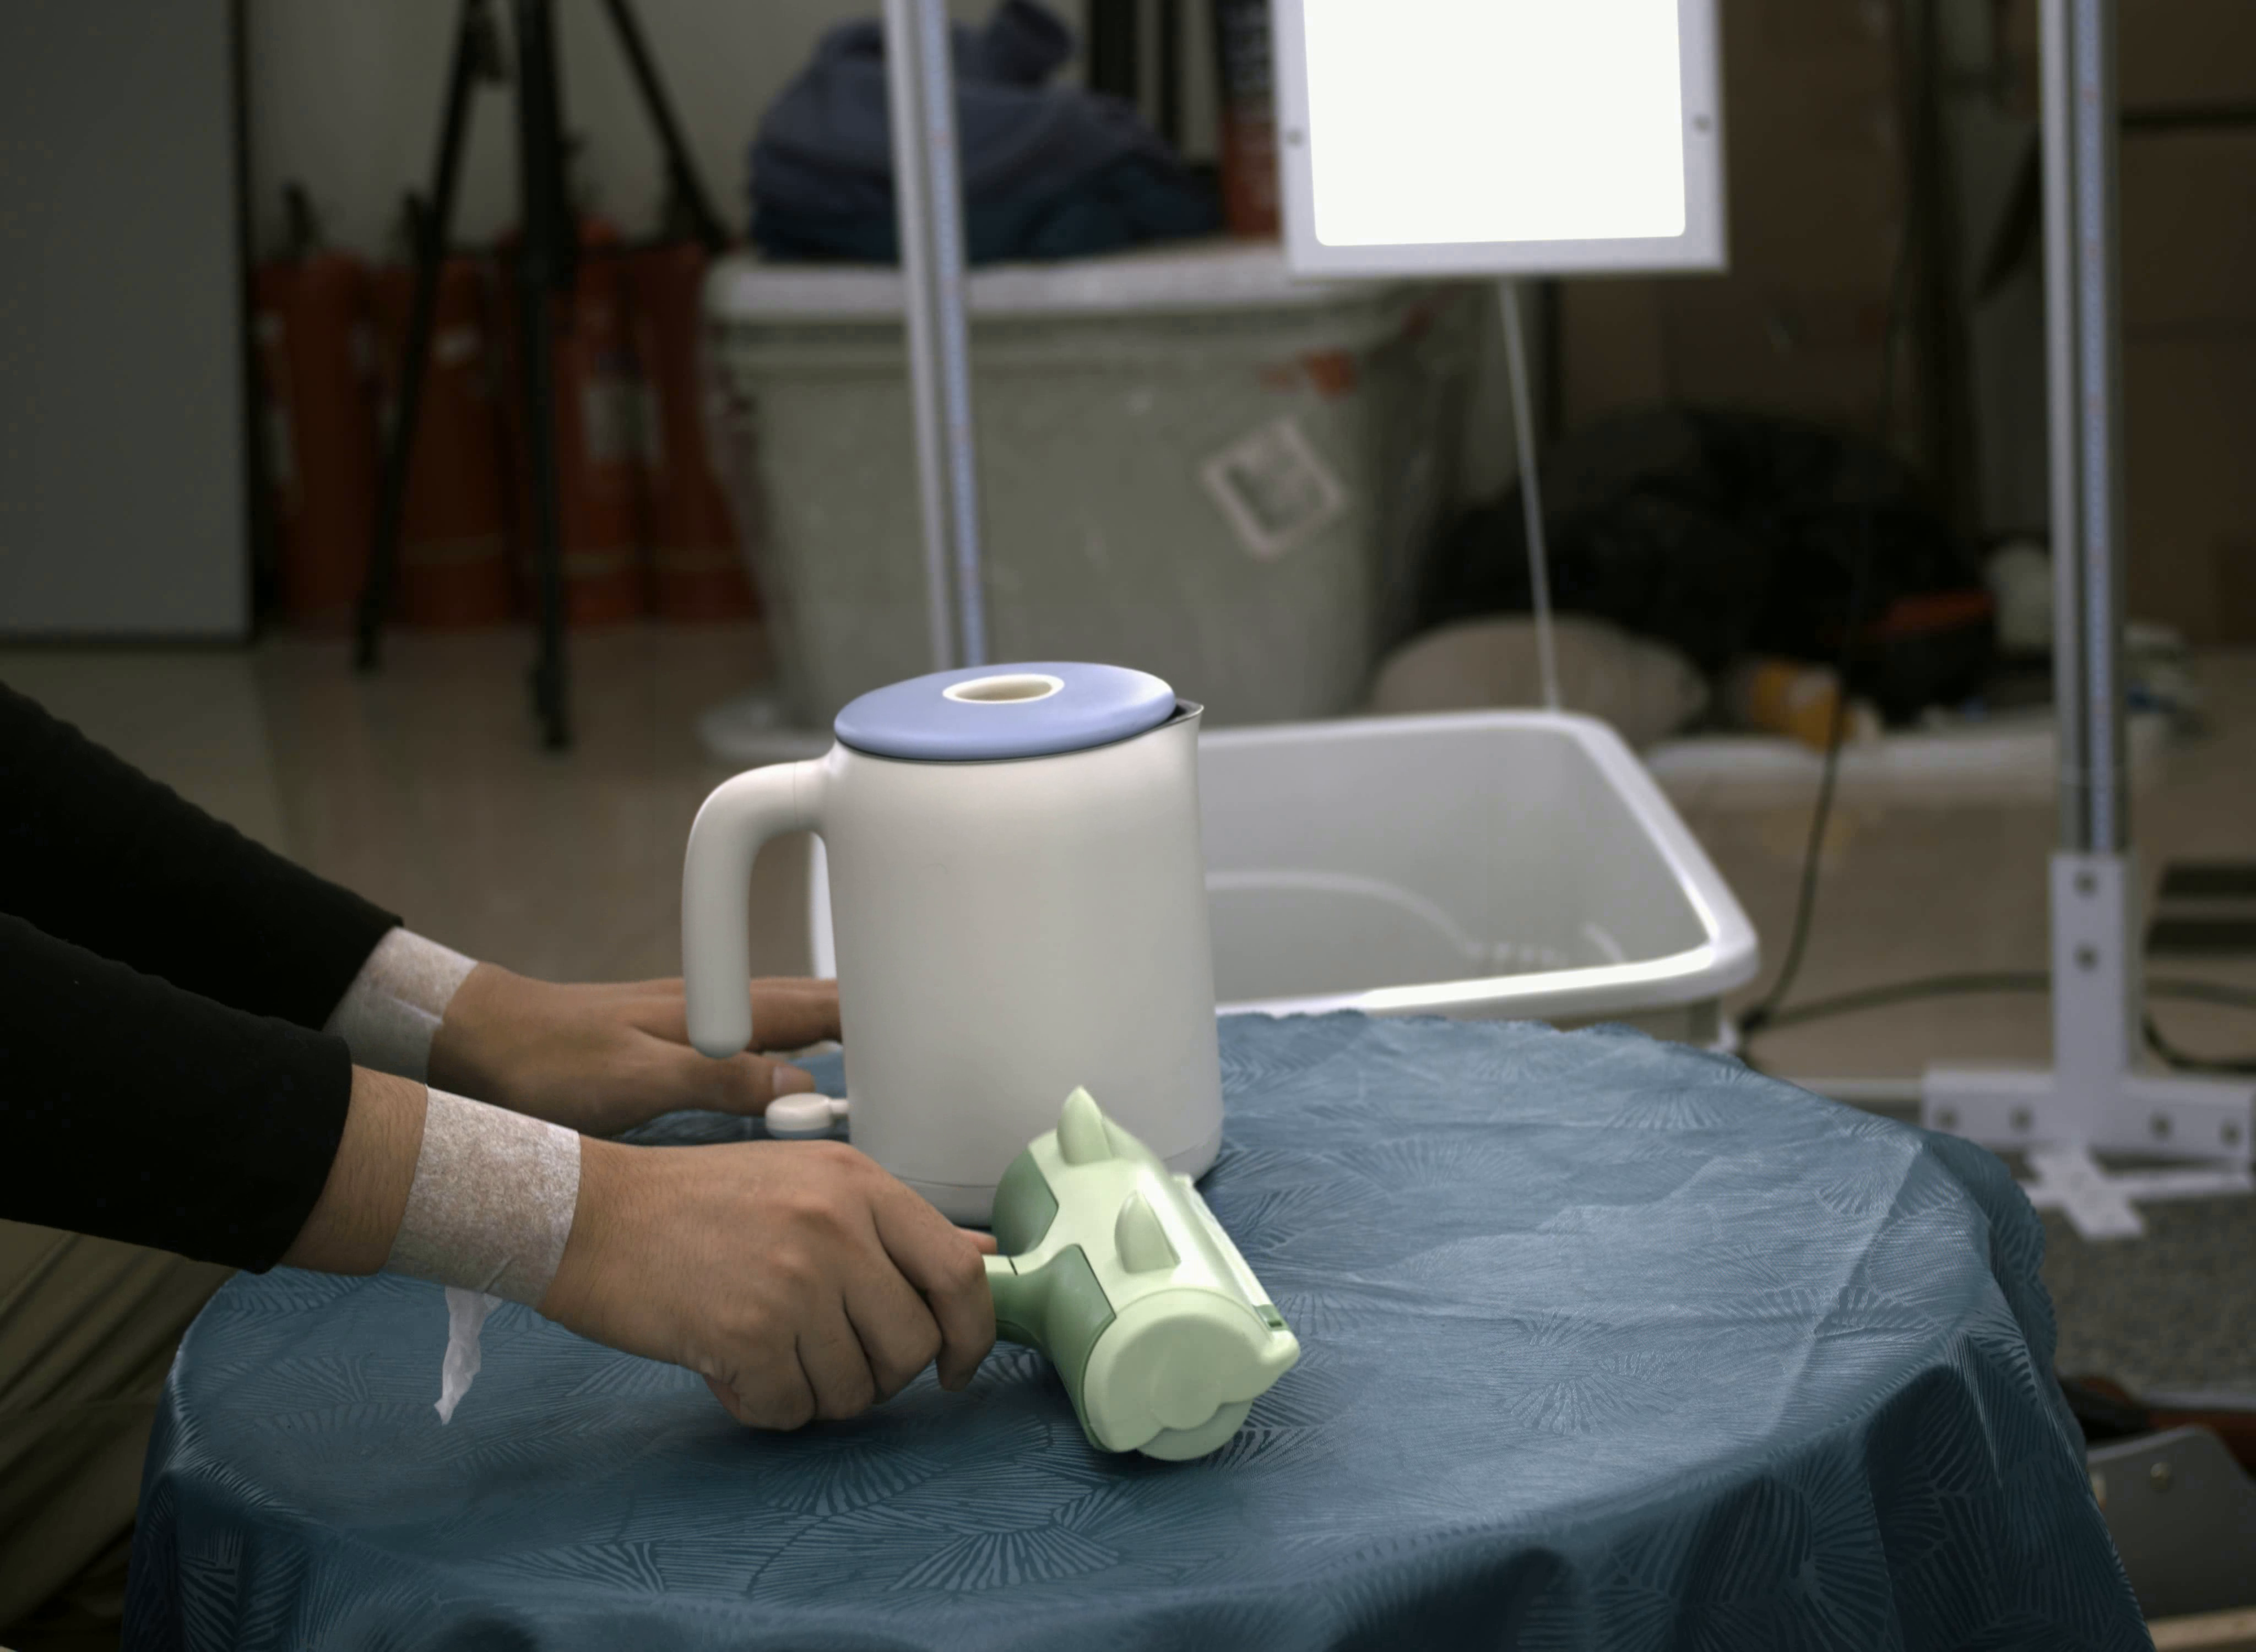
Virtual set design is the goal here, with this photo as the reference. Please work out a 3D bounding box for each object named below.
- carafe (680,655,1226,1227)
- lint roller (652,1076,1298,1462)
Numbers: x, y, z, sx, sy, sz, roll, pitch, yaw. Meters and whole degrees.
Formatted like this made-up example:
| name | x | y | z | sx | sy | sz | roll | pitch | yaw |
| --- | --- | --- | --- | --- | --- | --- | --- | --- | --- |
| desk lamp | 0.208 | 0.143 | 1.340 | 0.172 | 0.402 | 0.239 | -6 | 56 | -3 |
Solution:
| name | x | y | z | sx | sy | sz | roll | pitch | yaw |
| --- | --- | --- | --- | --- | --- | --- | --- | --- | --- |
| carafe | -0.061 | 0.041 | 1.907 | 0.191 | 0.183 | 0.131 | -6 | 13 | 4 |
| lint roller | -0.053 | 0.130 | 1.703 | 0.181 | 0.082 | 0.199 | 5 | 13 | -9 |
